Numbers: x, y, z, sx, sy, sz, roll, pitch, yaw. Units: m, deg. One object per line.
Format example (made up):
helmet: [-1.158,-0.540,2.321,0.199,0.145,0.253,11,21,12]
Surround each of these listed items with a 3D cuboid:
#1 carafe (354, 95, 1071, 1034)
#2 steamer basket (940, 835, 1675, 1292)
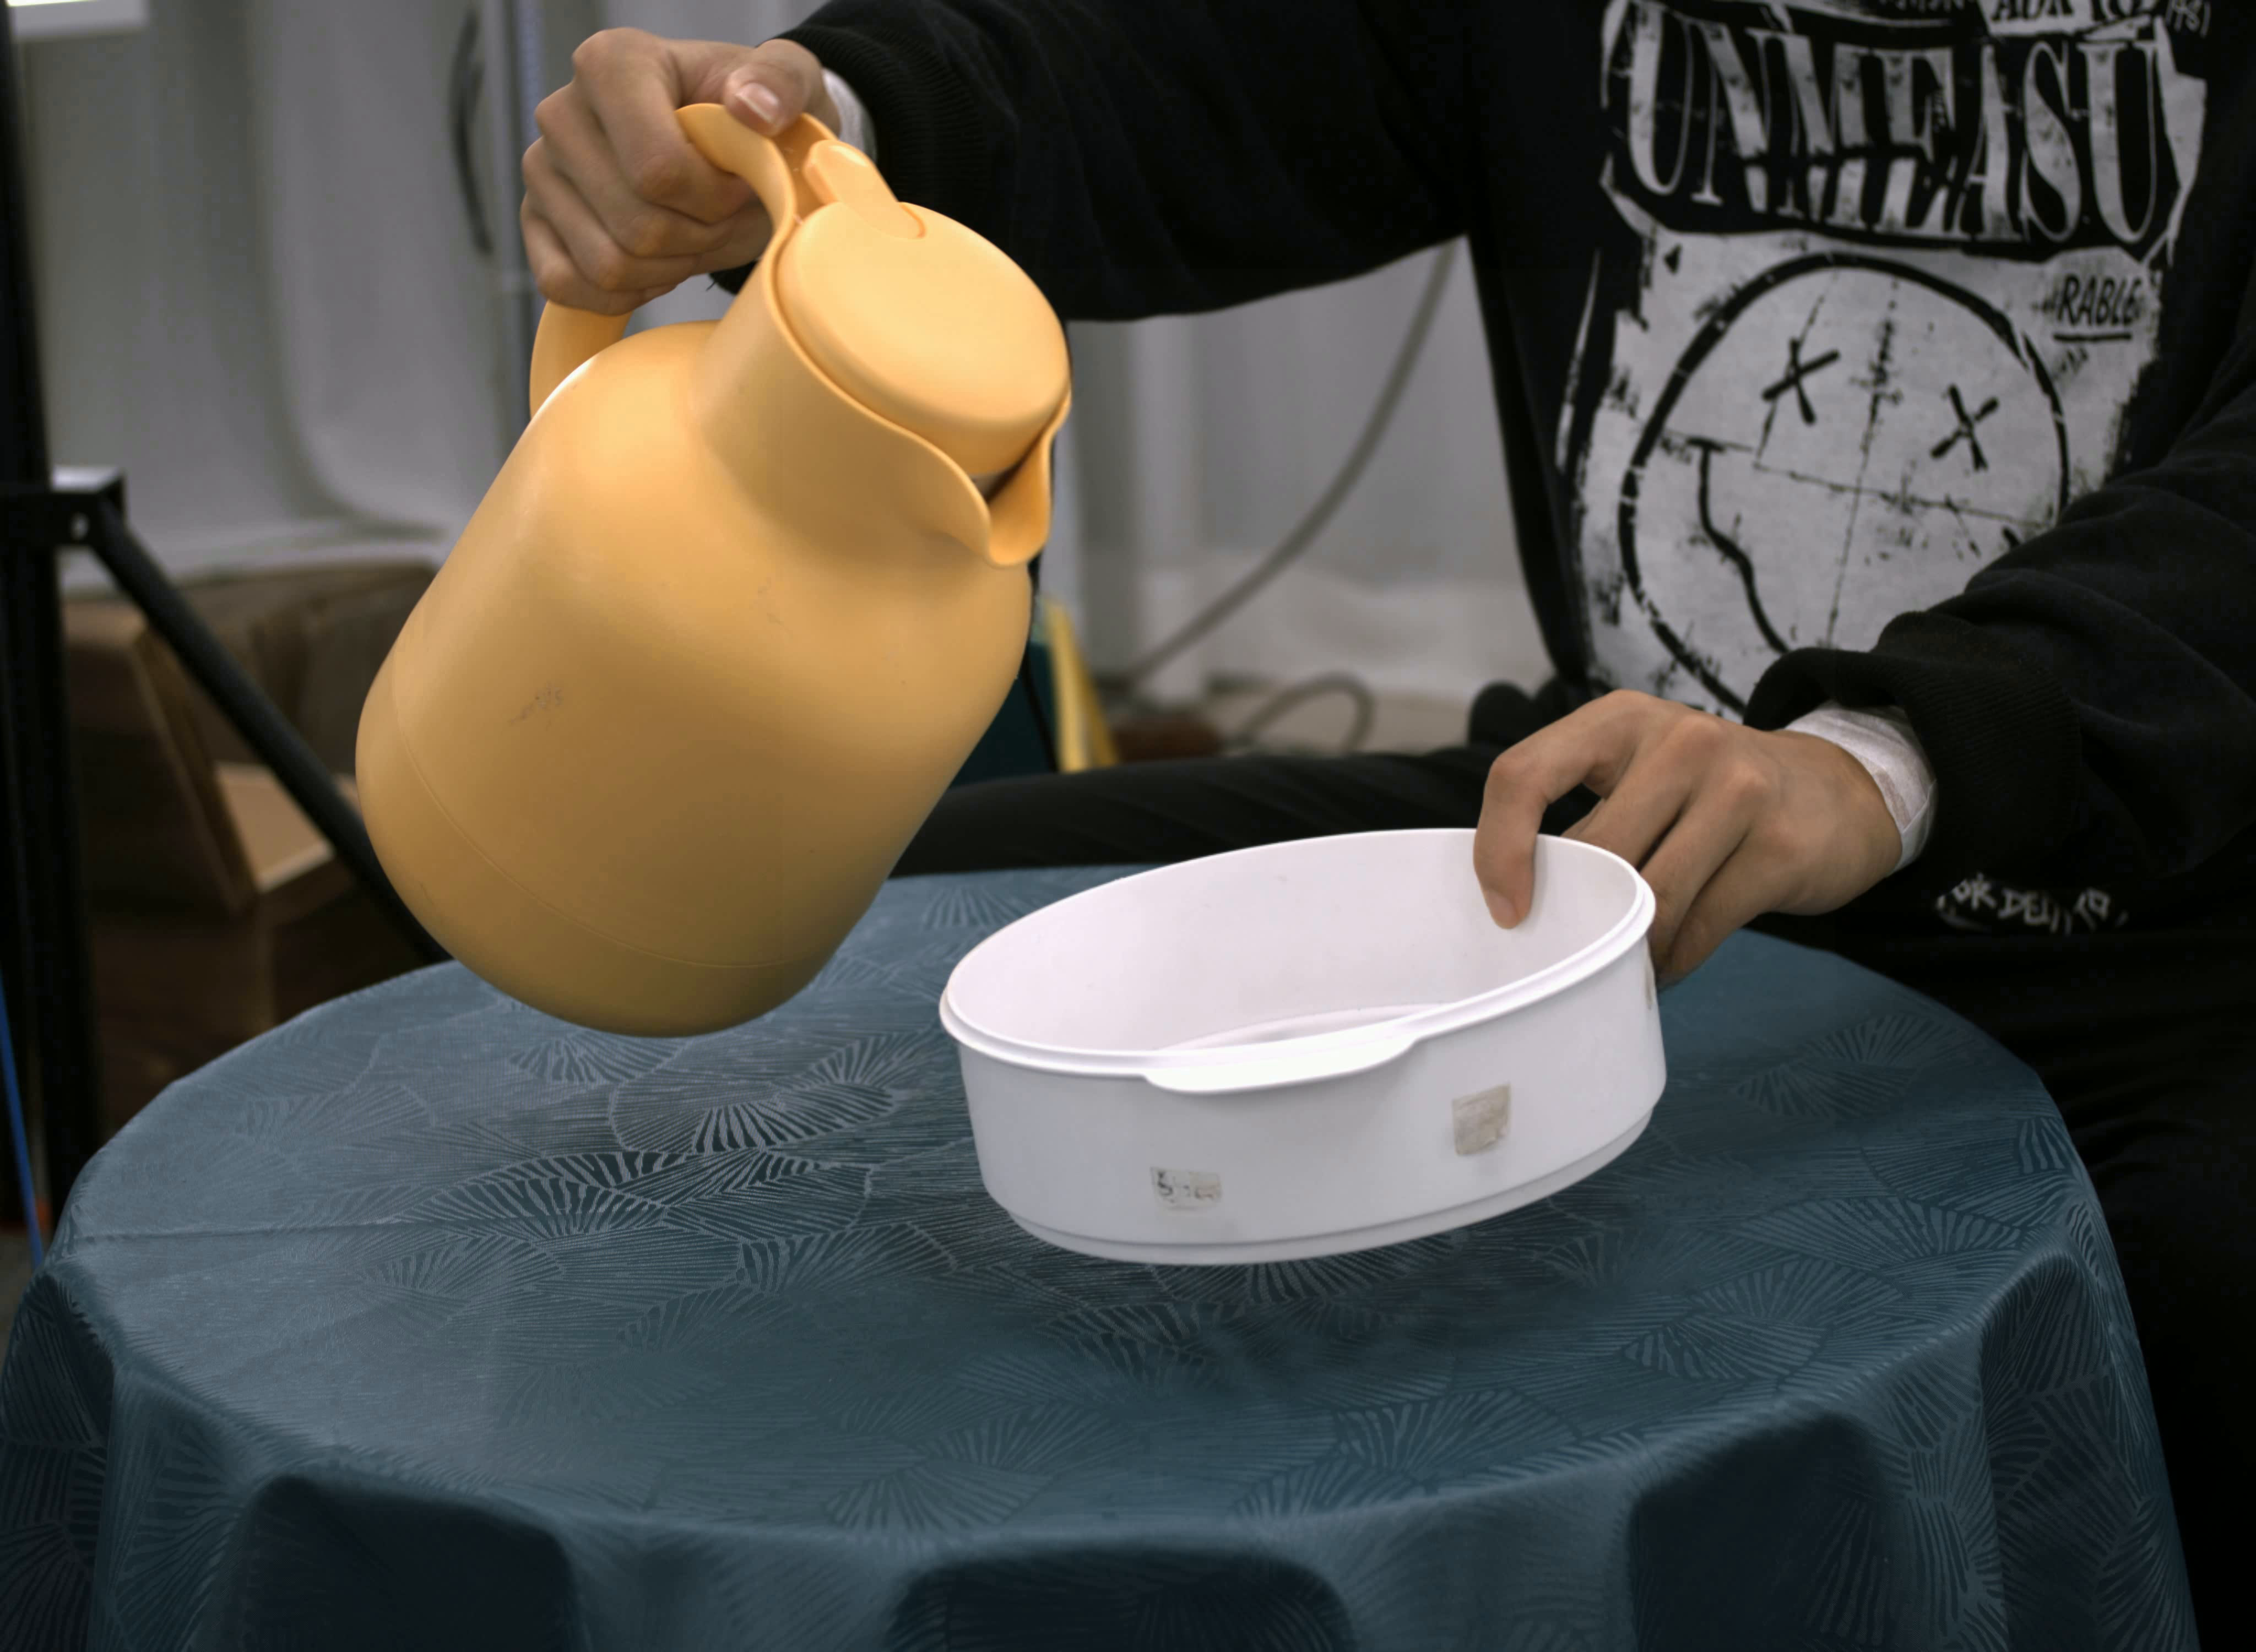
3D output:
carafe: [-0.119,-0.083,1.574,0.159,0.262,0.206,0,52,-38]
steamer basket: [0.052,0.065,1.464,0.202,0.069,0.231,-9,16,7]
